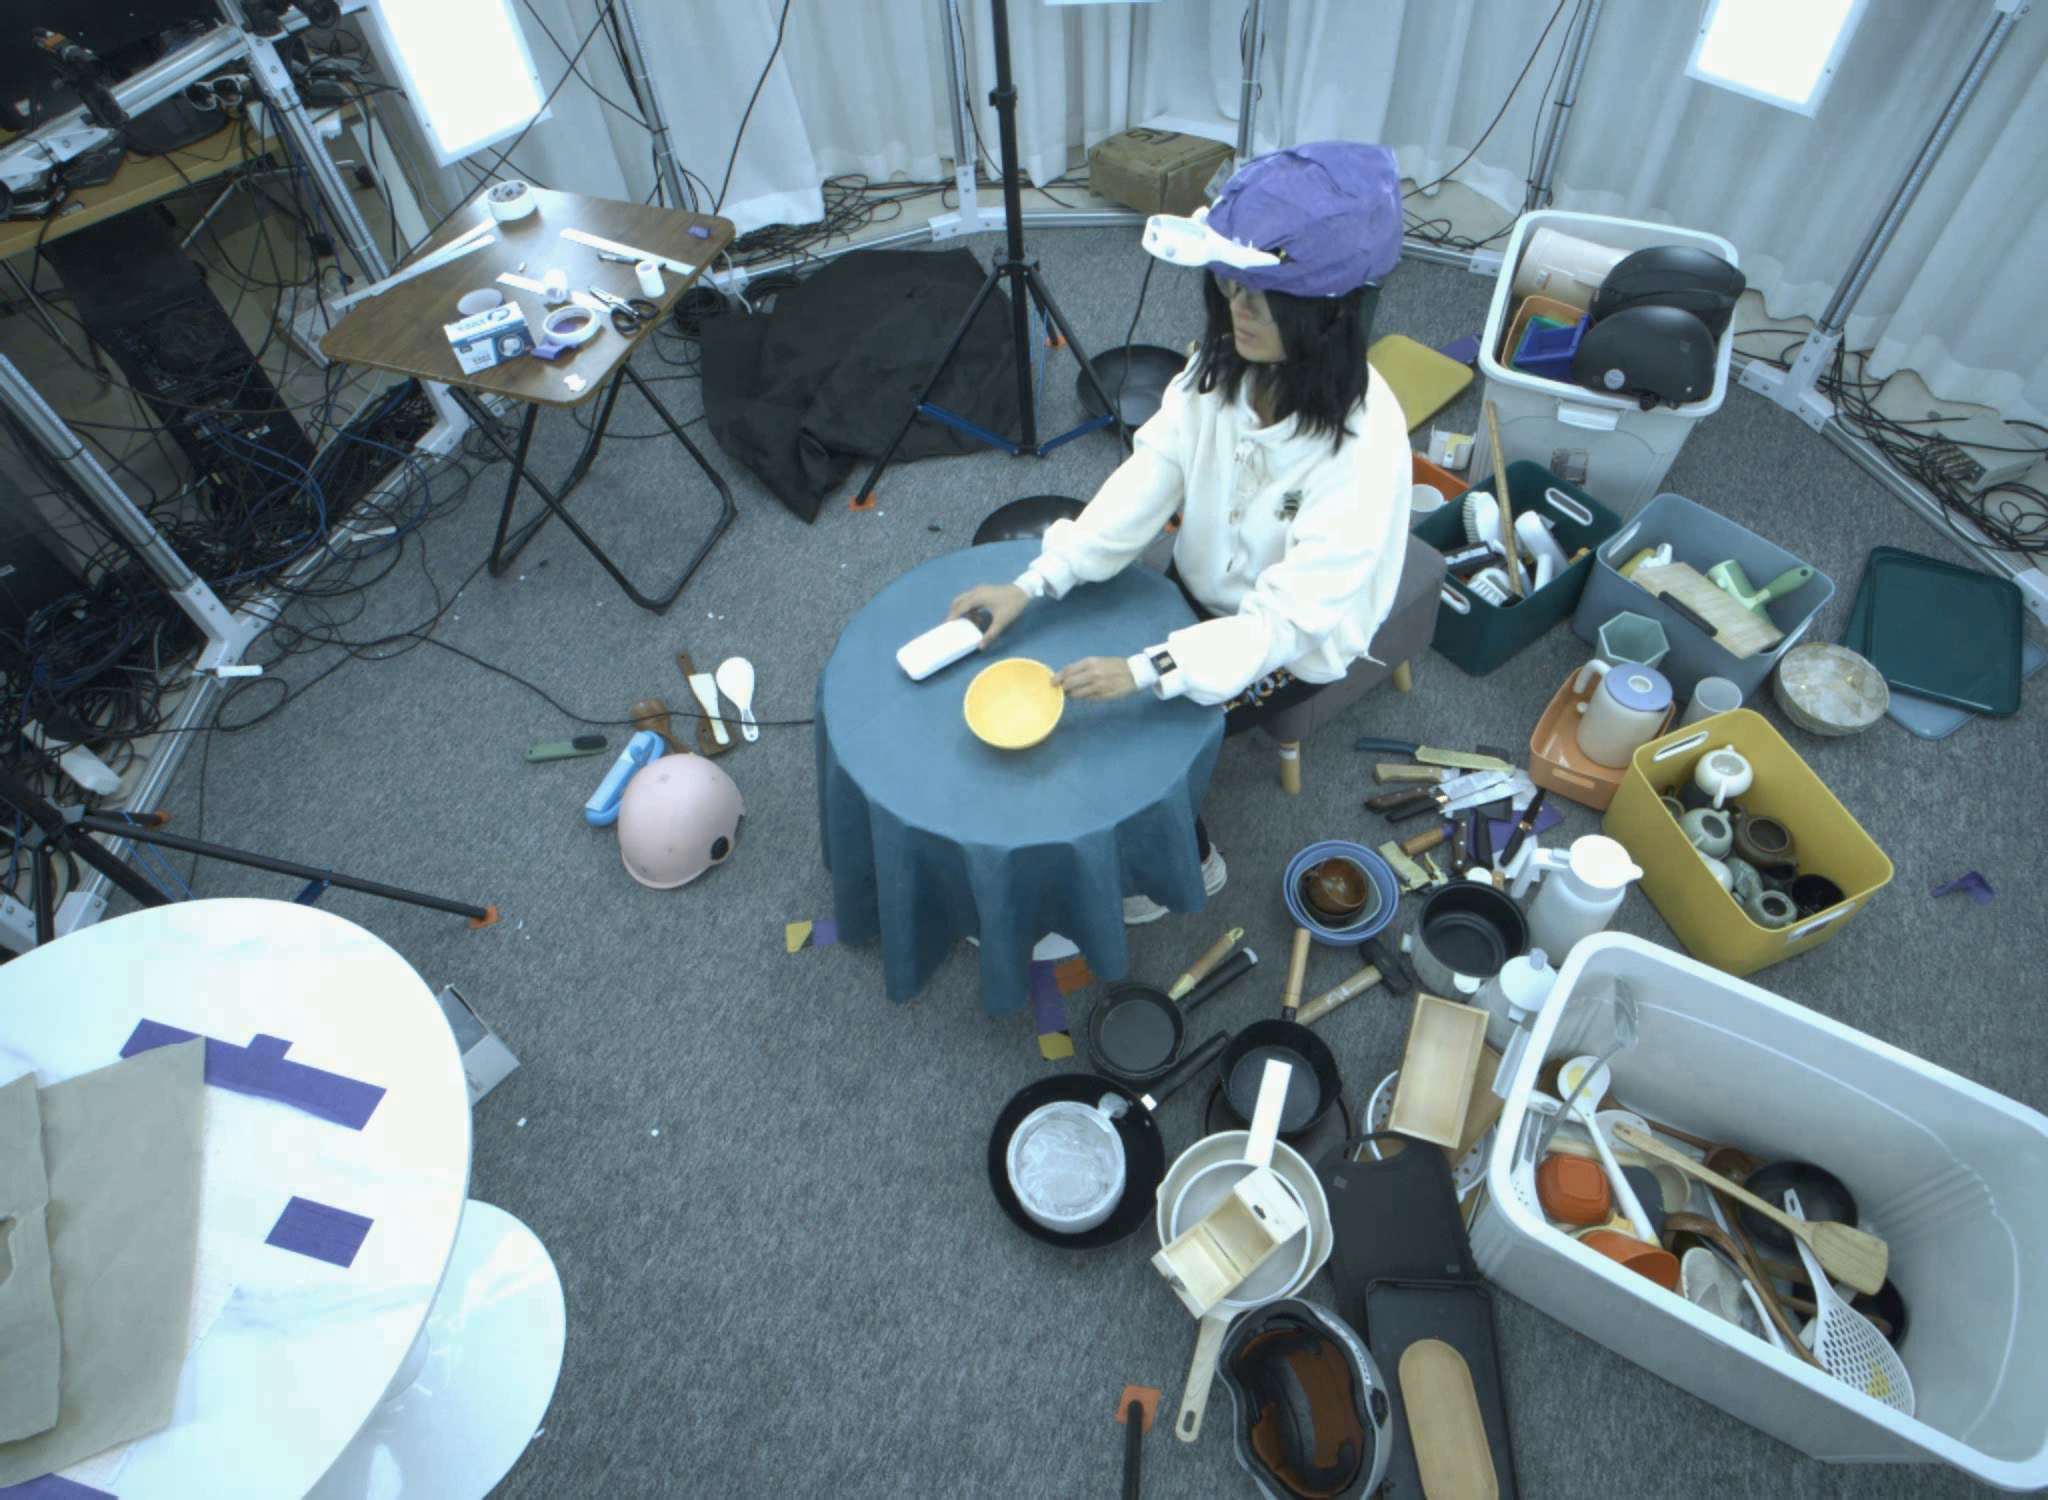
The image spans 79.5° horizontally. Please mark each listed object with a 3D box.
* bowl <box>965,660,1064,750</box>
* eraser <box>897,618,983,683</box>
[{"bbox_3d":[-0.010,-0.055,1.786,0.144,0.061,0.144,-3,63,8],"label":"bowl"},{"bbox_3d":[-0.128,-0.153,1.881,0.132,0.035,0.062,-31,58,-17],"label":"eraser"}]
